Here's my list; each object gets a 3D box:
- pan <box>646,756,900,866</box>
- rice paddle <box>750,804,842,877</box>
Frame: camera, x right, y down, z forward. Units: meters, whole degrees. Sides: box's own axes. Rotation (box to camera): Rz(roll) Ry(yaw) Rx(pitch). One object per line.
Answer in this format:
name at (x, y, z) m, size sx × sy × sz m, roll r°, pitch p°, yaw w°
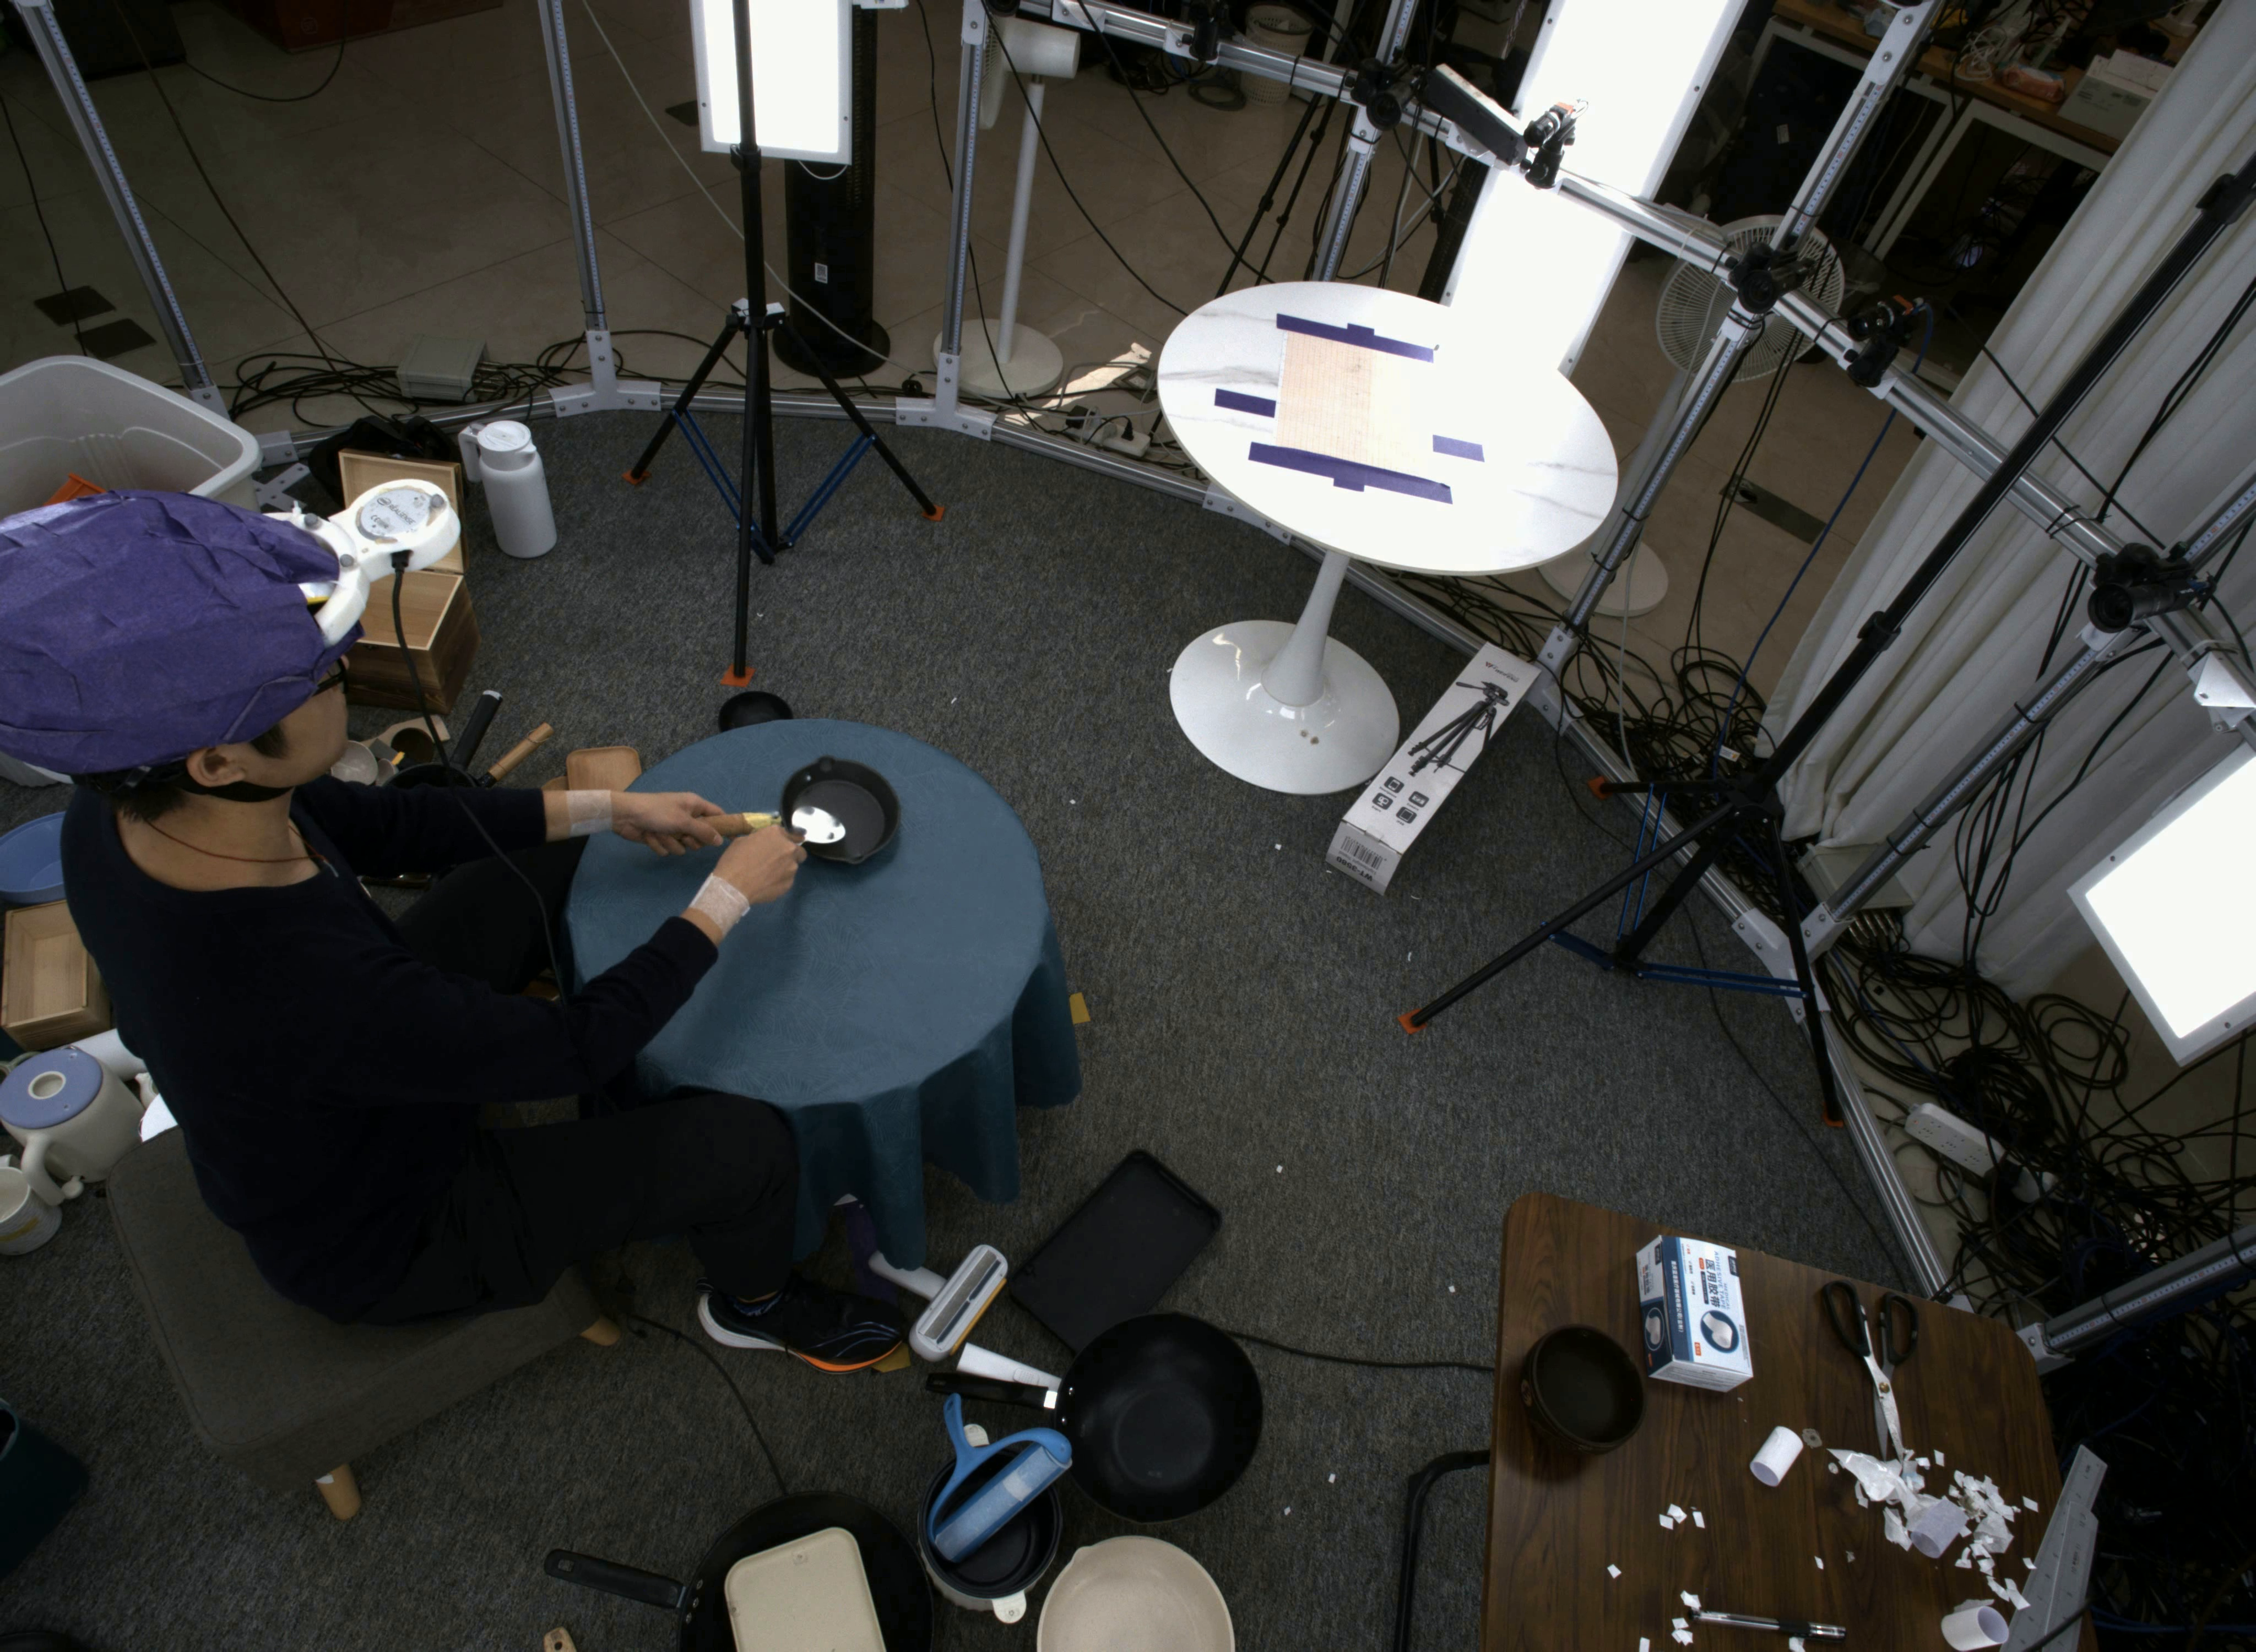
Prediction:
pan at (-0.453, -0.010, 1.659) m, size 0.327 × 0.050 × 0.166 m, roll -6°, pitch 62°, yaw -28°
rice paddle at (-0.411, 0.011, 1.610) m, size 0.069 × 0.029 × 0.203 m, roll 36°, pitch 21°, yaw -2°
